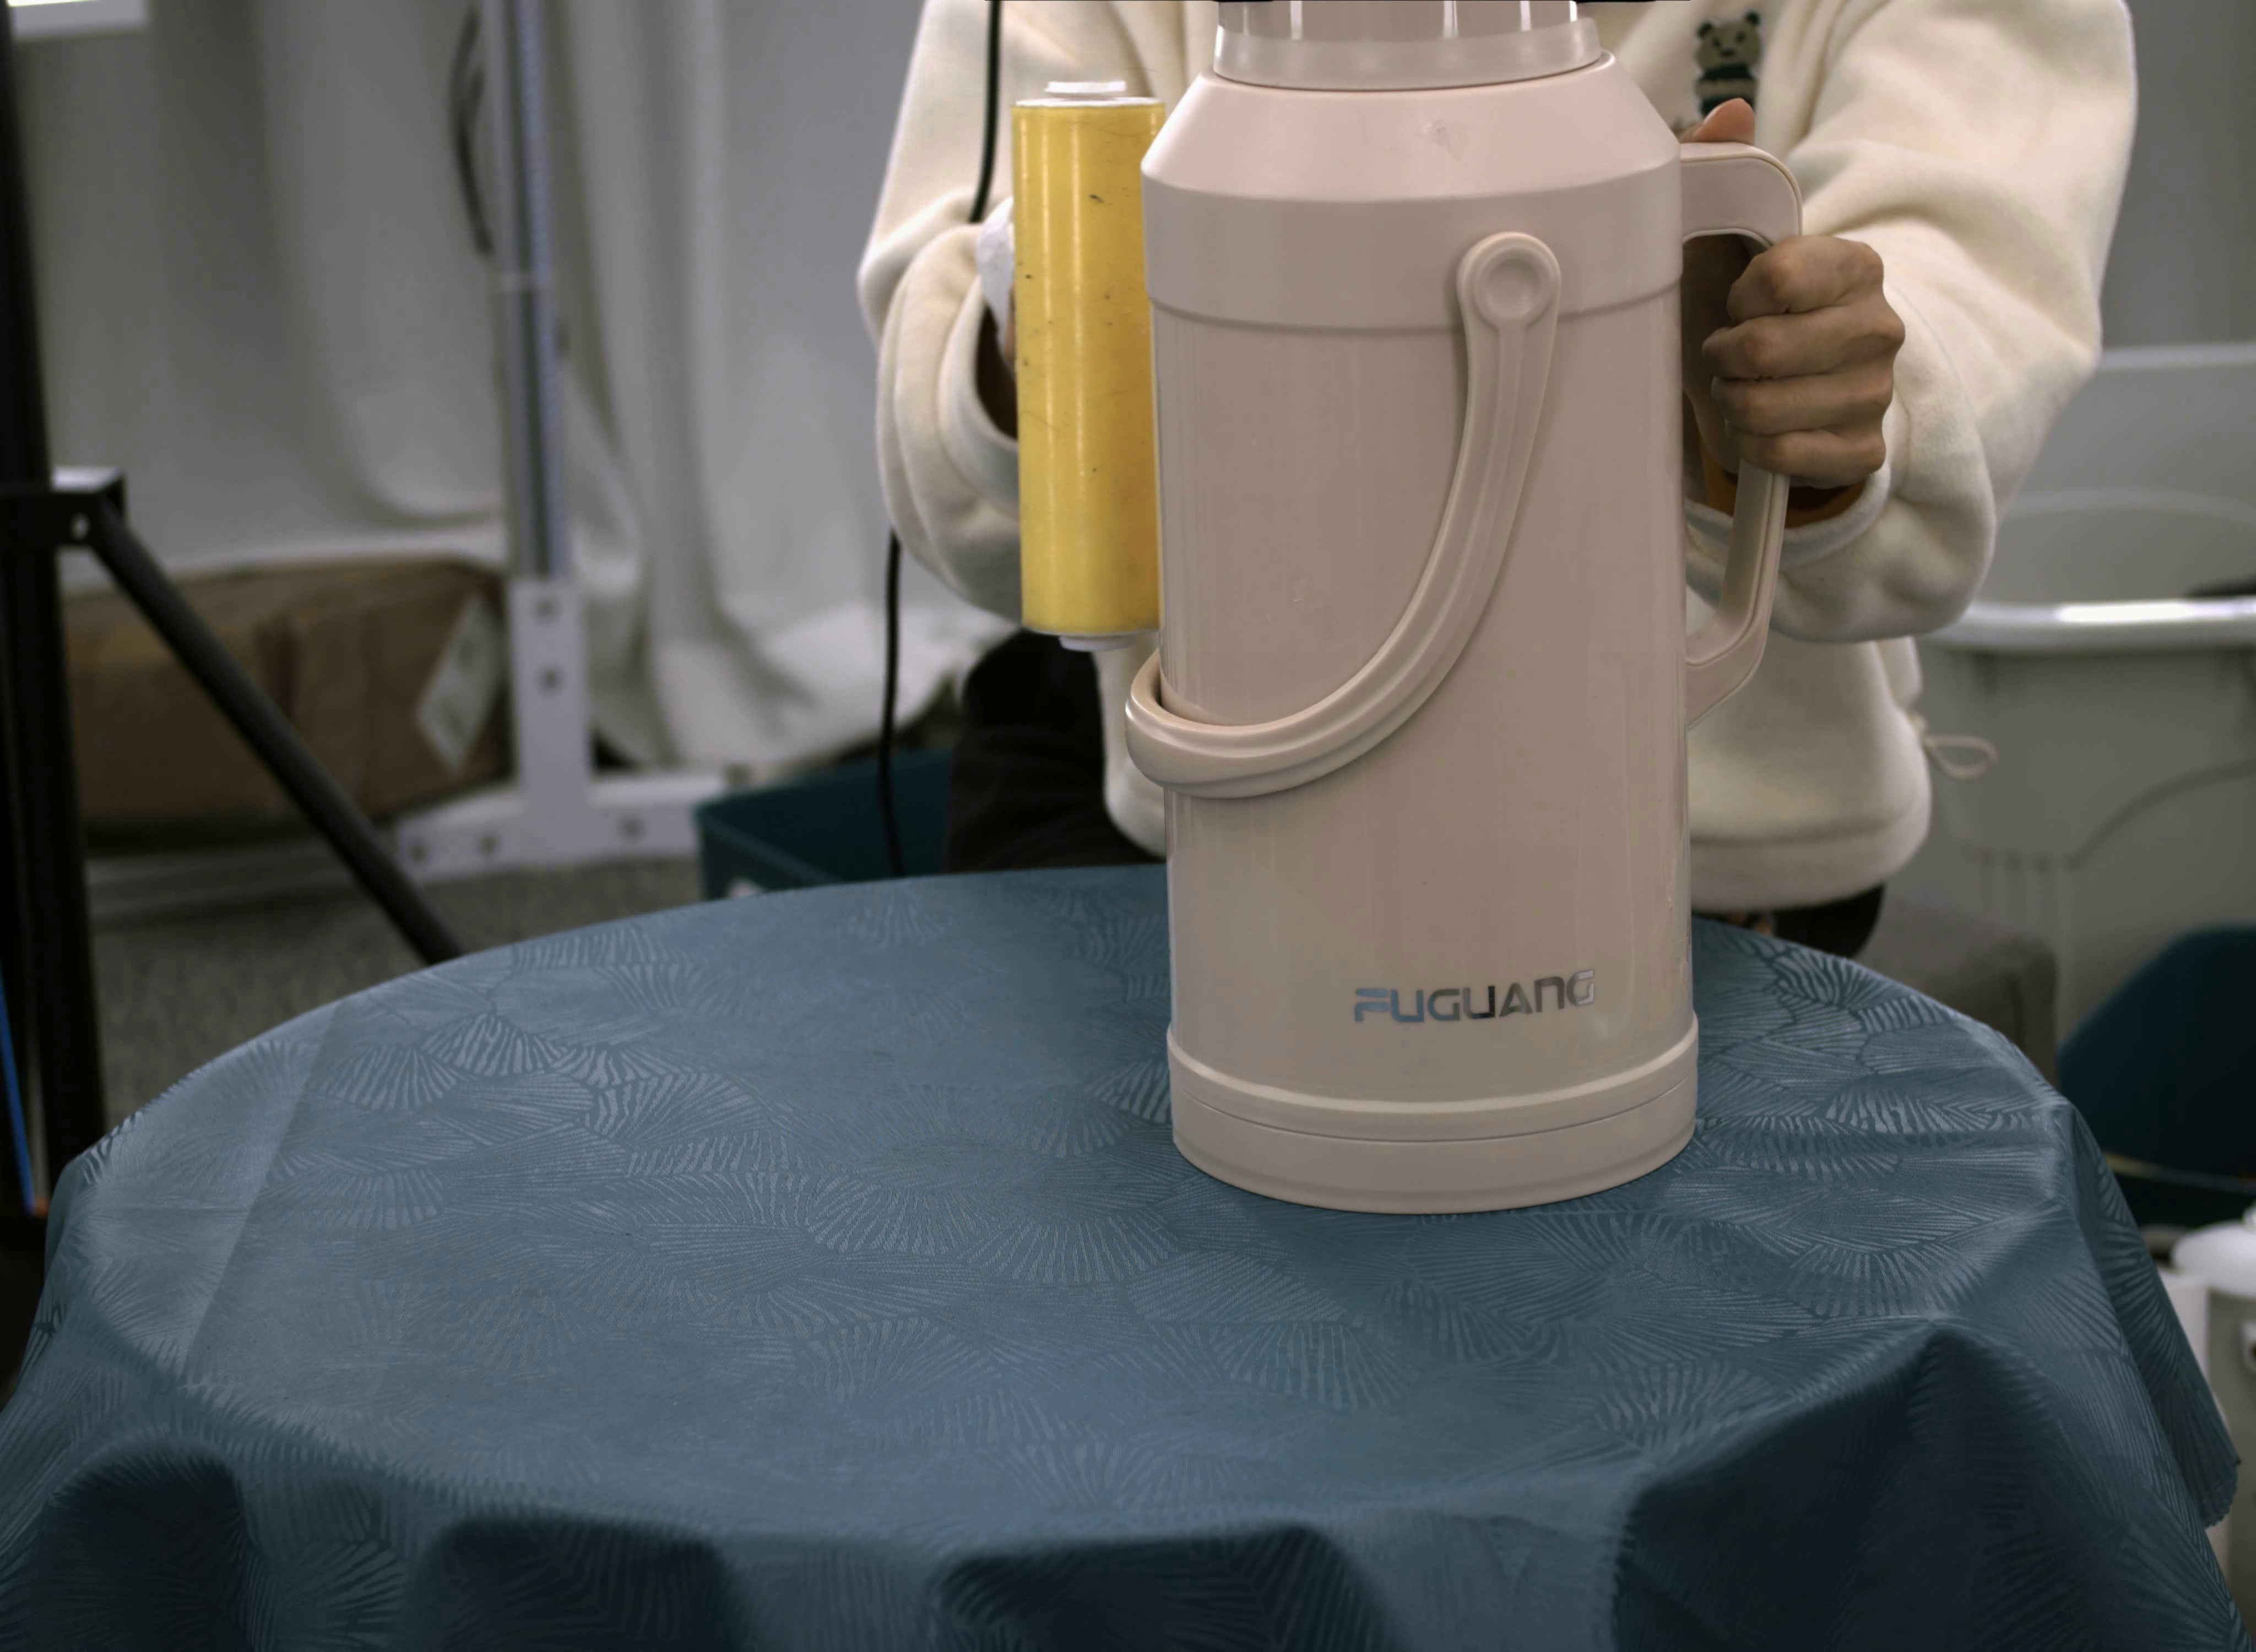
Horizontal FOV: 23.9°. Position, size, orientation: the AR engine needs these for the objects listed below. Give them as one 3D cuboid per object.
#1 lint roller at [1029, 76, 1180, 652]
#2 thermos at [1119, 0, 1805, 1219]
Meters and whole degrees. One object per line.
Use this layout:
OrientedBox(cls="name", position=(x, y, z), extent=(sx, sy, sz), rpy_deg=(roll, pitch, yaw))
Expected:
OrientedBox(cls="lint roller", position=(-0.019, -0.151, 1.705), extent=(0.051, 0.175, 0.194), rpy_deg=(-2, 8, -11))
OrientedBox(cls="thermos", position=(0.098, -0.100, 1.553), extent=(0.204, 0.406, 0.178), rpy_deg=(-5, 15, -14))
